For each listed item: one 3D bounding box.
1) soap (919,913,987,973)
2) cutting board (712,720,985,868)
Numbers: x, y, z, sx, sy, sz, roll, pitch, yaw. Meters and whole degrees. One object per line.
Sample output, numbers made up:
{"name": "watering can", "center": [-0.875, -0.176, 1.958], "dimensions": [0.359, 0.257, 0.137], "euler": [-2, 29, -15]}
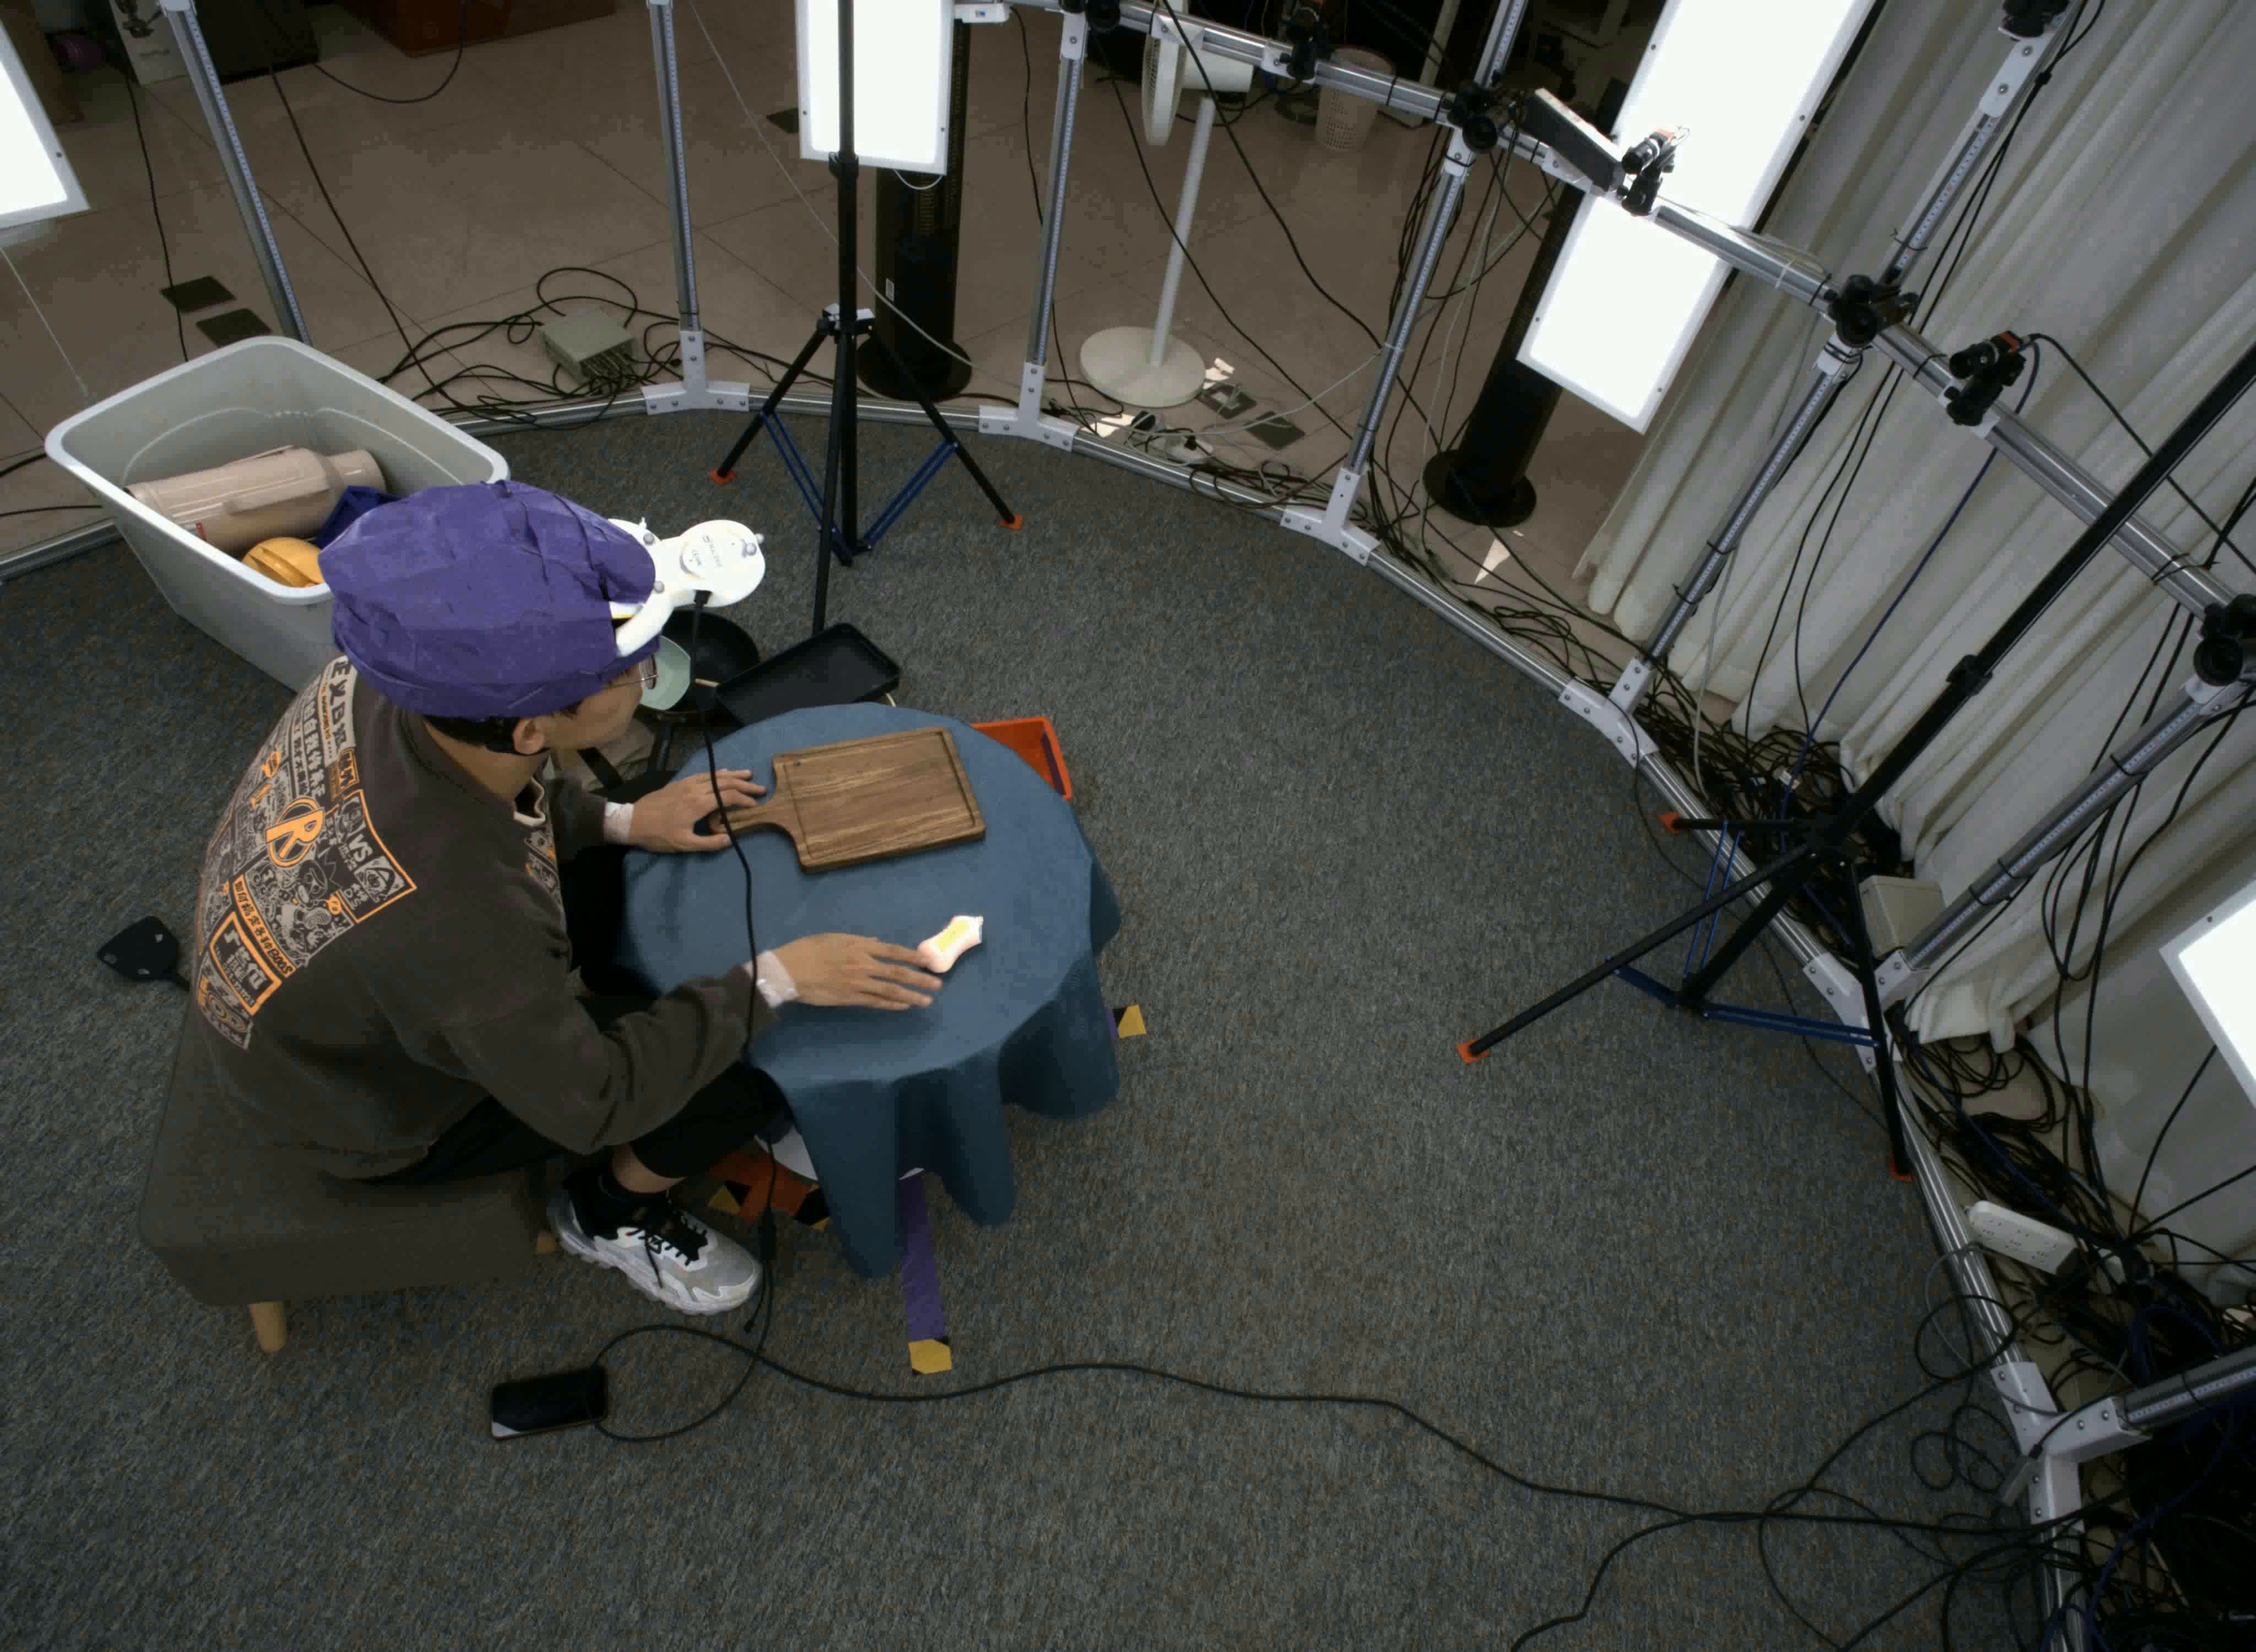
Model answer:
{"name": "soap", "center": [-0.223, 0.147, 1.662], "dimensions": [0.049, 0.031, 0.094], "euler": [38, 57, 17]}
{"name": "cutting board", "center": [-0.386, -0.040, 1.764], "dimensions": [0.353, 0.023, 0.196], "euler": [-11, 58, -21]}
